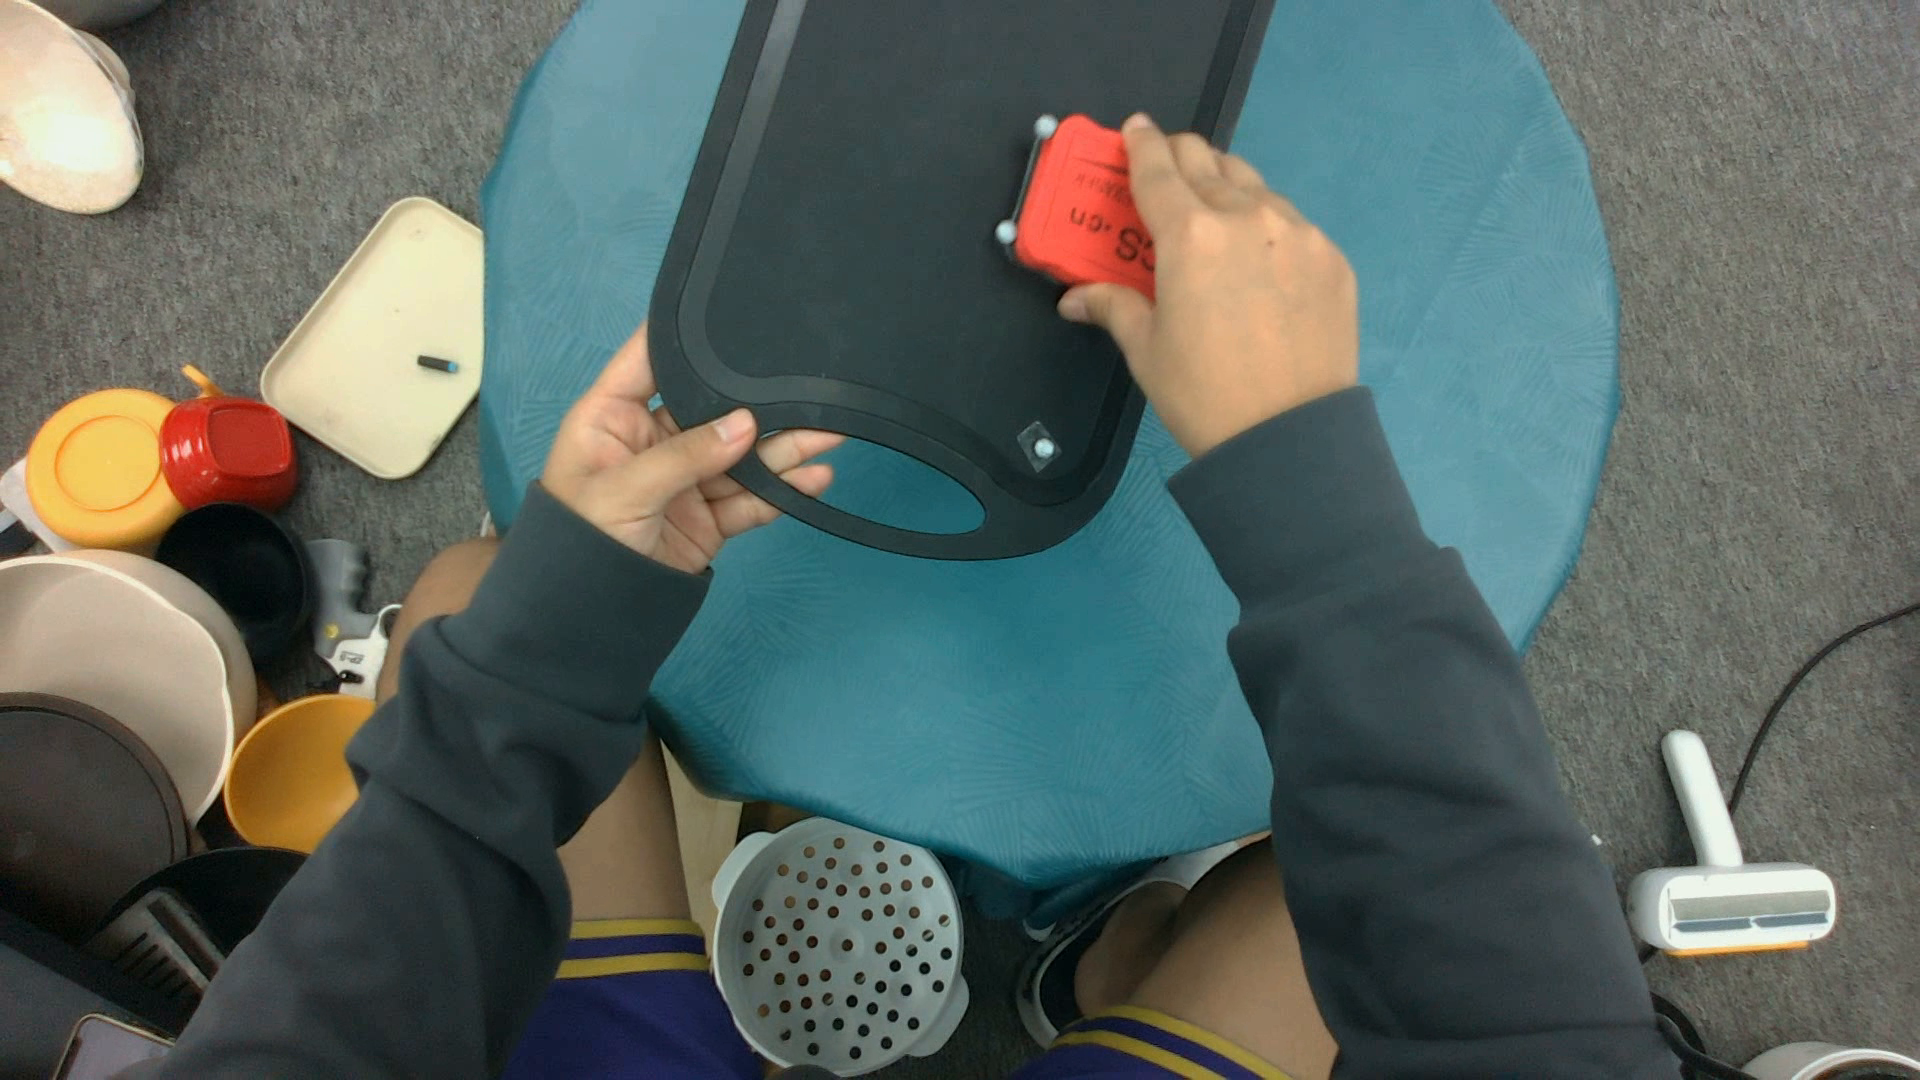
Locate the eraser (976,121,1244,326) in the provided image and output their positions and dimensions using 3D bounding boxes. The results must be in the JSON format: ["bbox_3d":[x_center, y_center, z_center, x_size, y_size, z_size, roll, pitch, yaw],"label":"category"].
[{"bbox_3d":[0.063,-0.128,0.567,0.108,0.023,0.059,14,88,-22],"label":"eraser"}]

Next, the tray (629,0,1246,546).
[{"bbox_3d":[0.001,-0.159,0.553,0.211,0.010,0.325,19,87,-24],"label":"tray"}]
